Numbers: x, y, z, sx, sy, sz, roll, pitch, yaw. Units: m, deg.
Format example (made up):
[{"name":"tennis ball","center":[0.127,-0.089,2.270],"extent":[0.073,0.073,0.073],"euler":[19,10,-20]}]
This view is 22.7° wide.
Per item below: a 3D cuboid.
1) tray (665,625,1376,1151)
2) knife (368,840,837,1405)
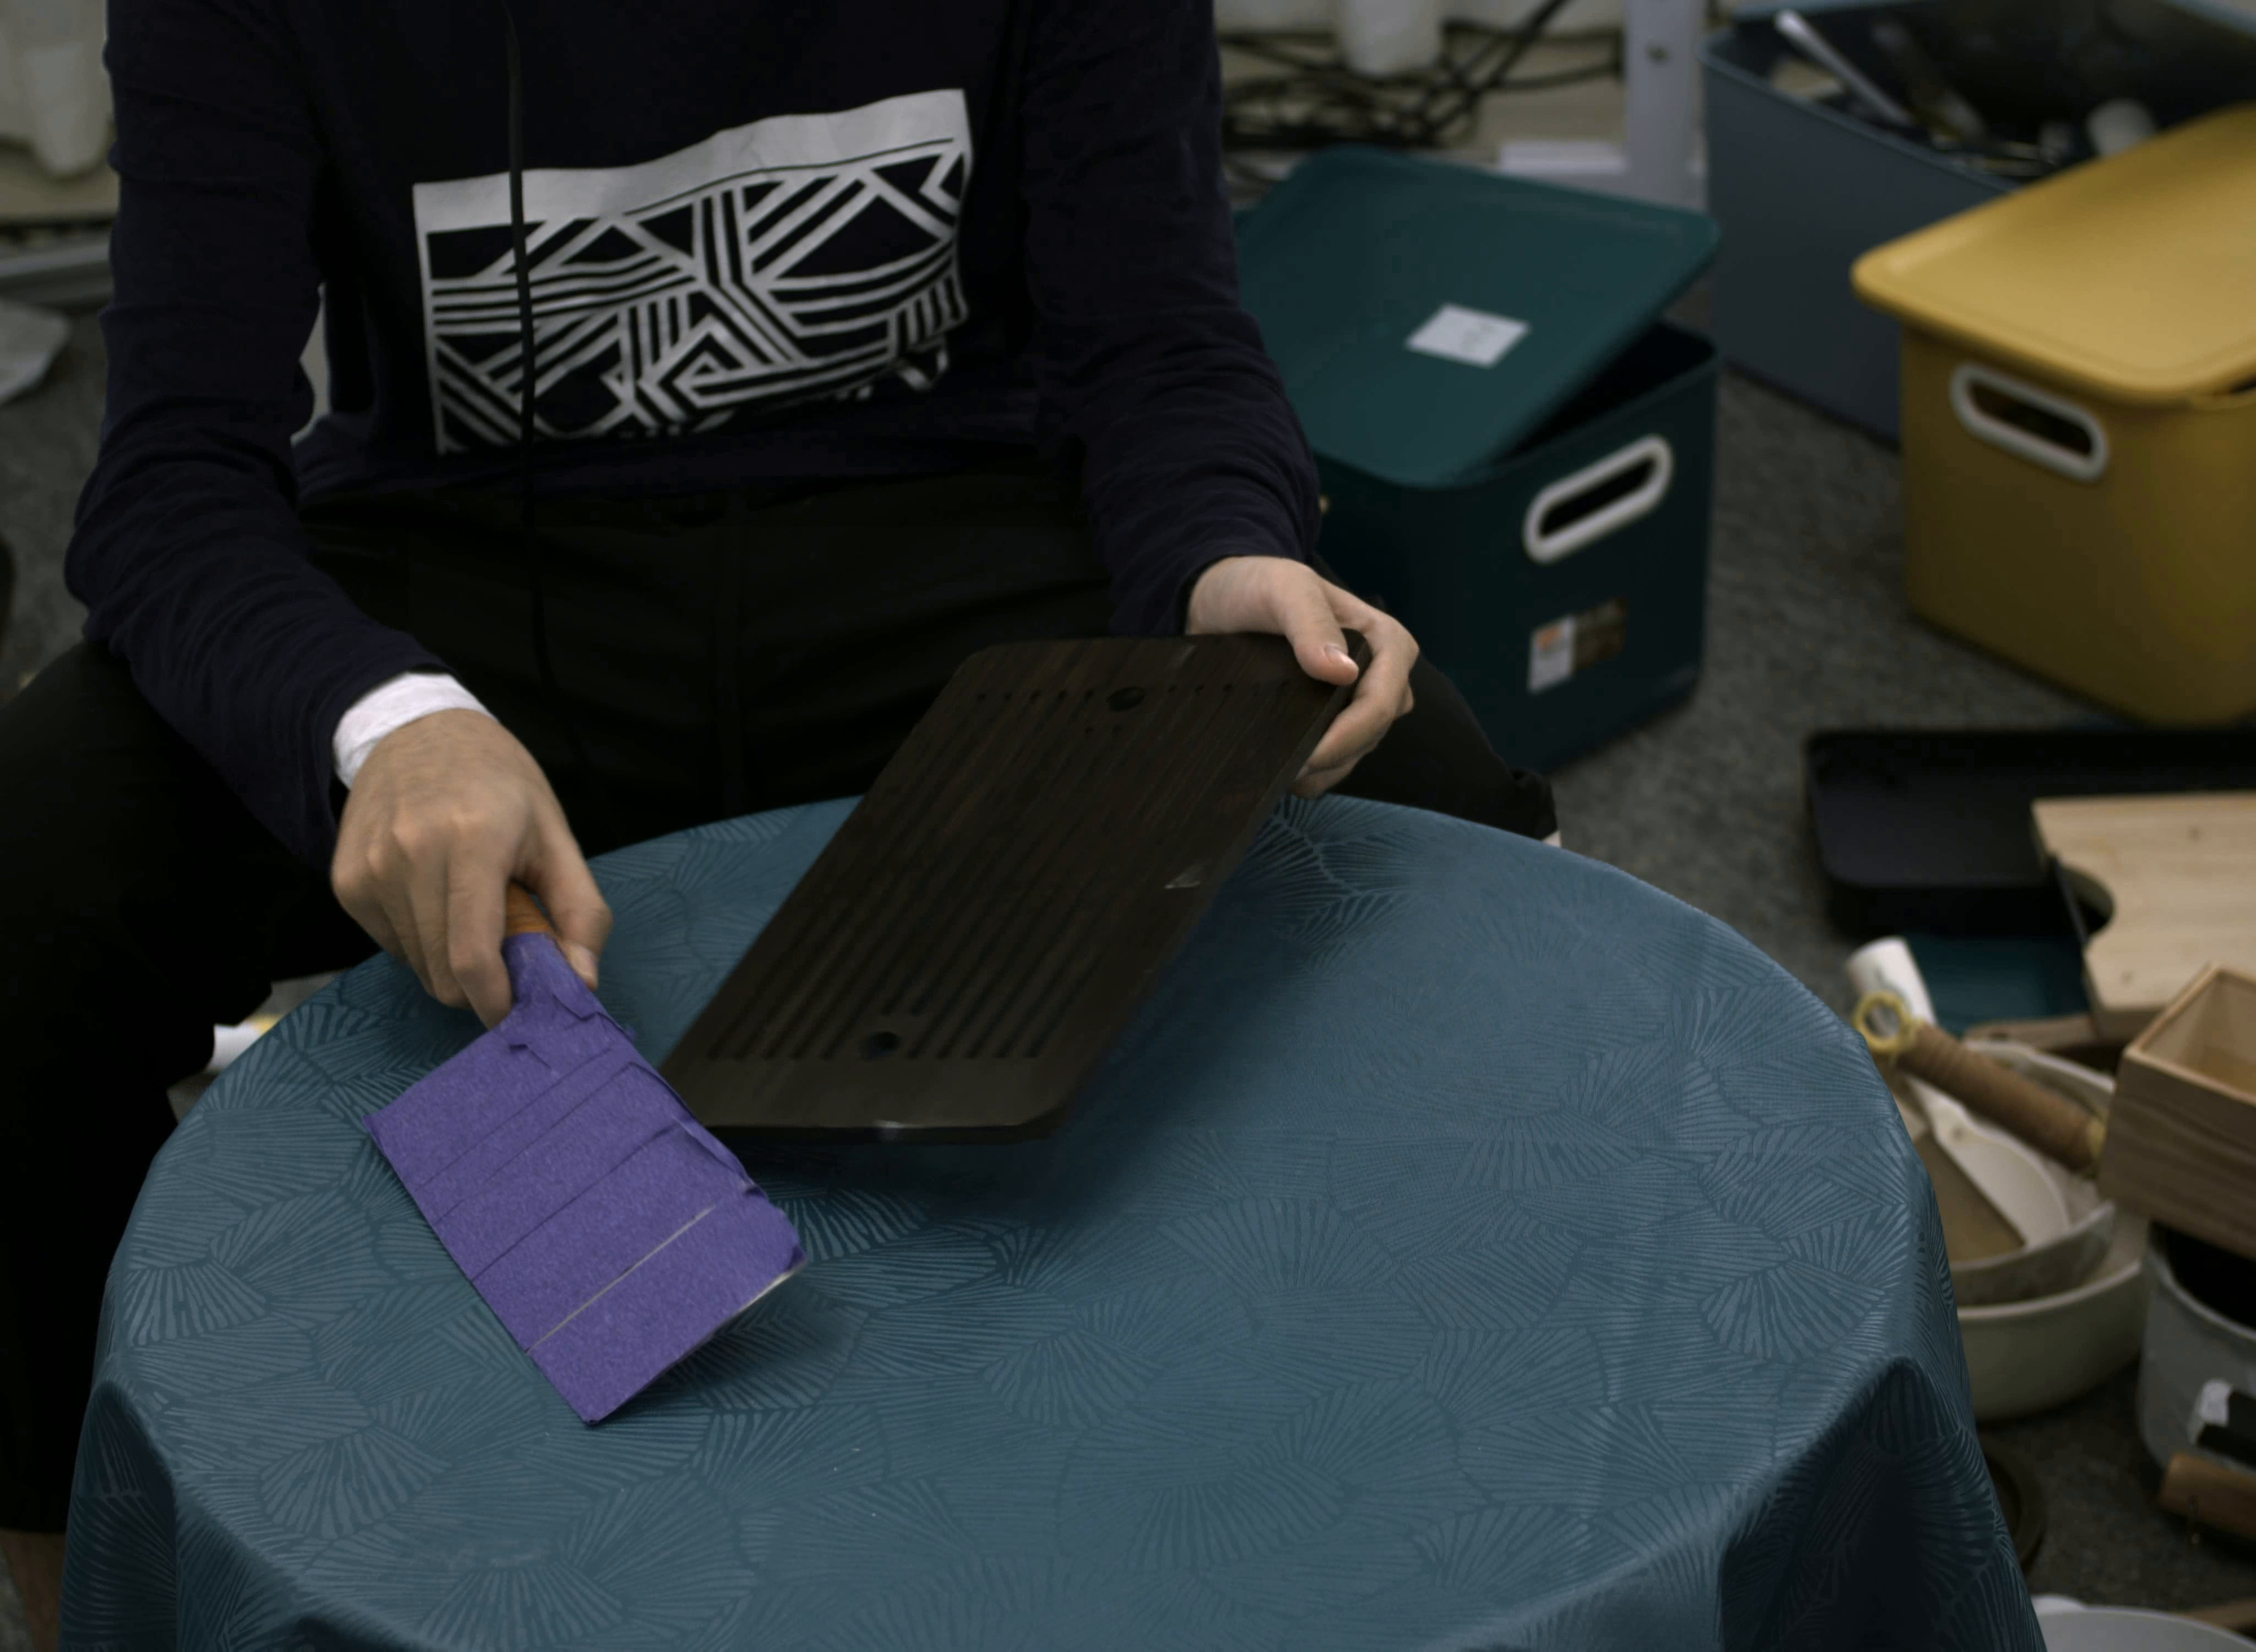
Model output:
[{"name":"tray","center":[-0.034,0.021,1.965],"extent":[0.168,0.018,0.312],"euler":[-4,31,27]},{"name":"knife","center":[-0.202,0.095,1.876],"extent":[0.104,0.032,0.317],"euler":[-33,34,-11]}]
